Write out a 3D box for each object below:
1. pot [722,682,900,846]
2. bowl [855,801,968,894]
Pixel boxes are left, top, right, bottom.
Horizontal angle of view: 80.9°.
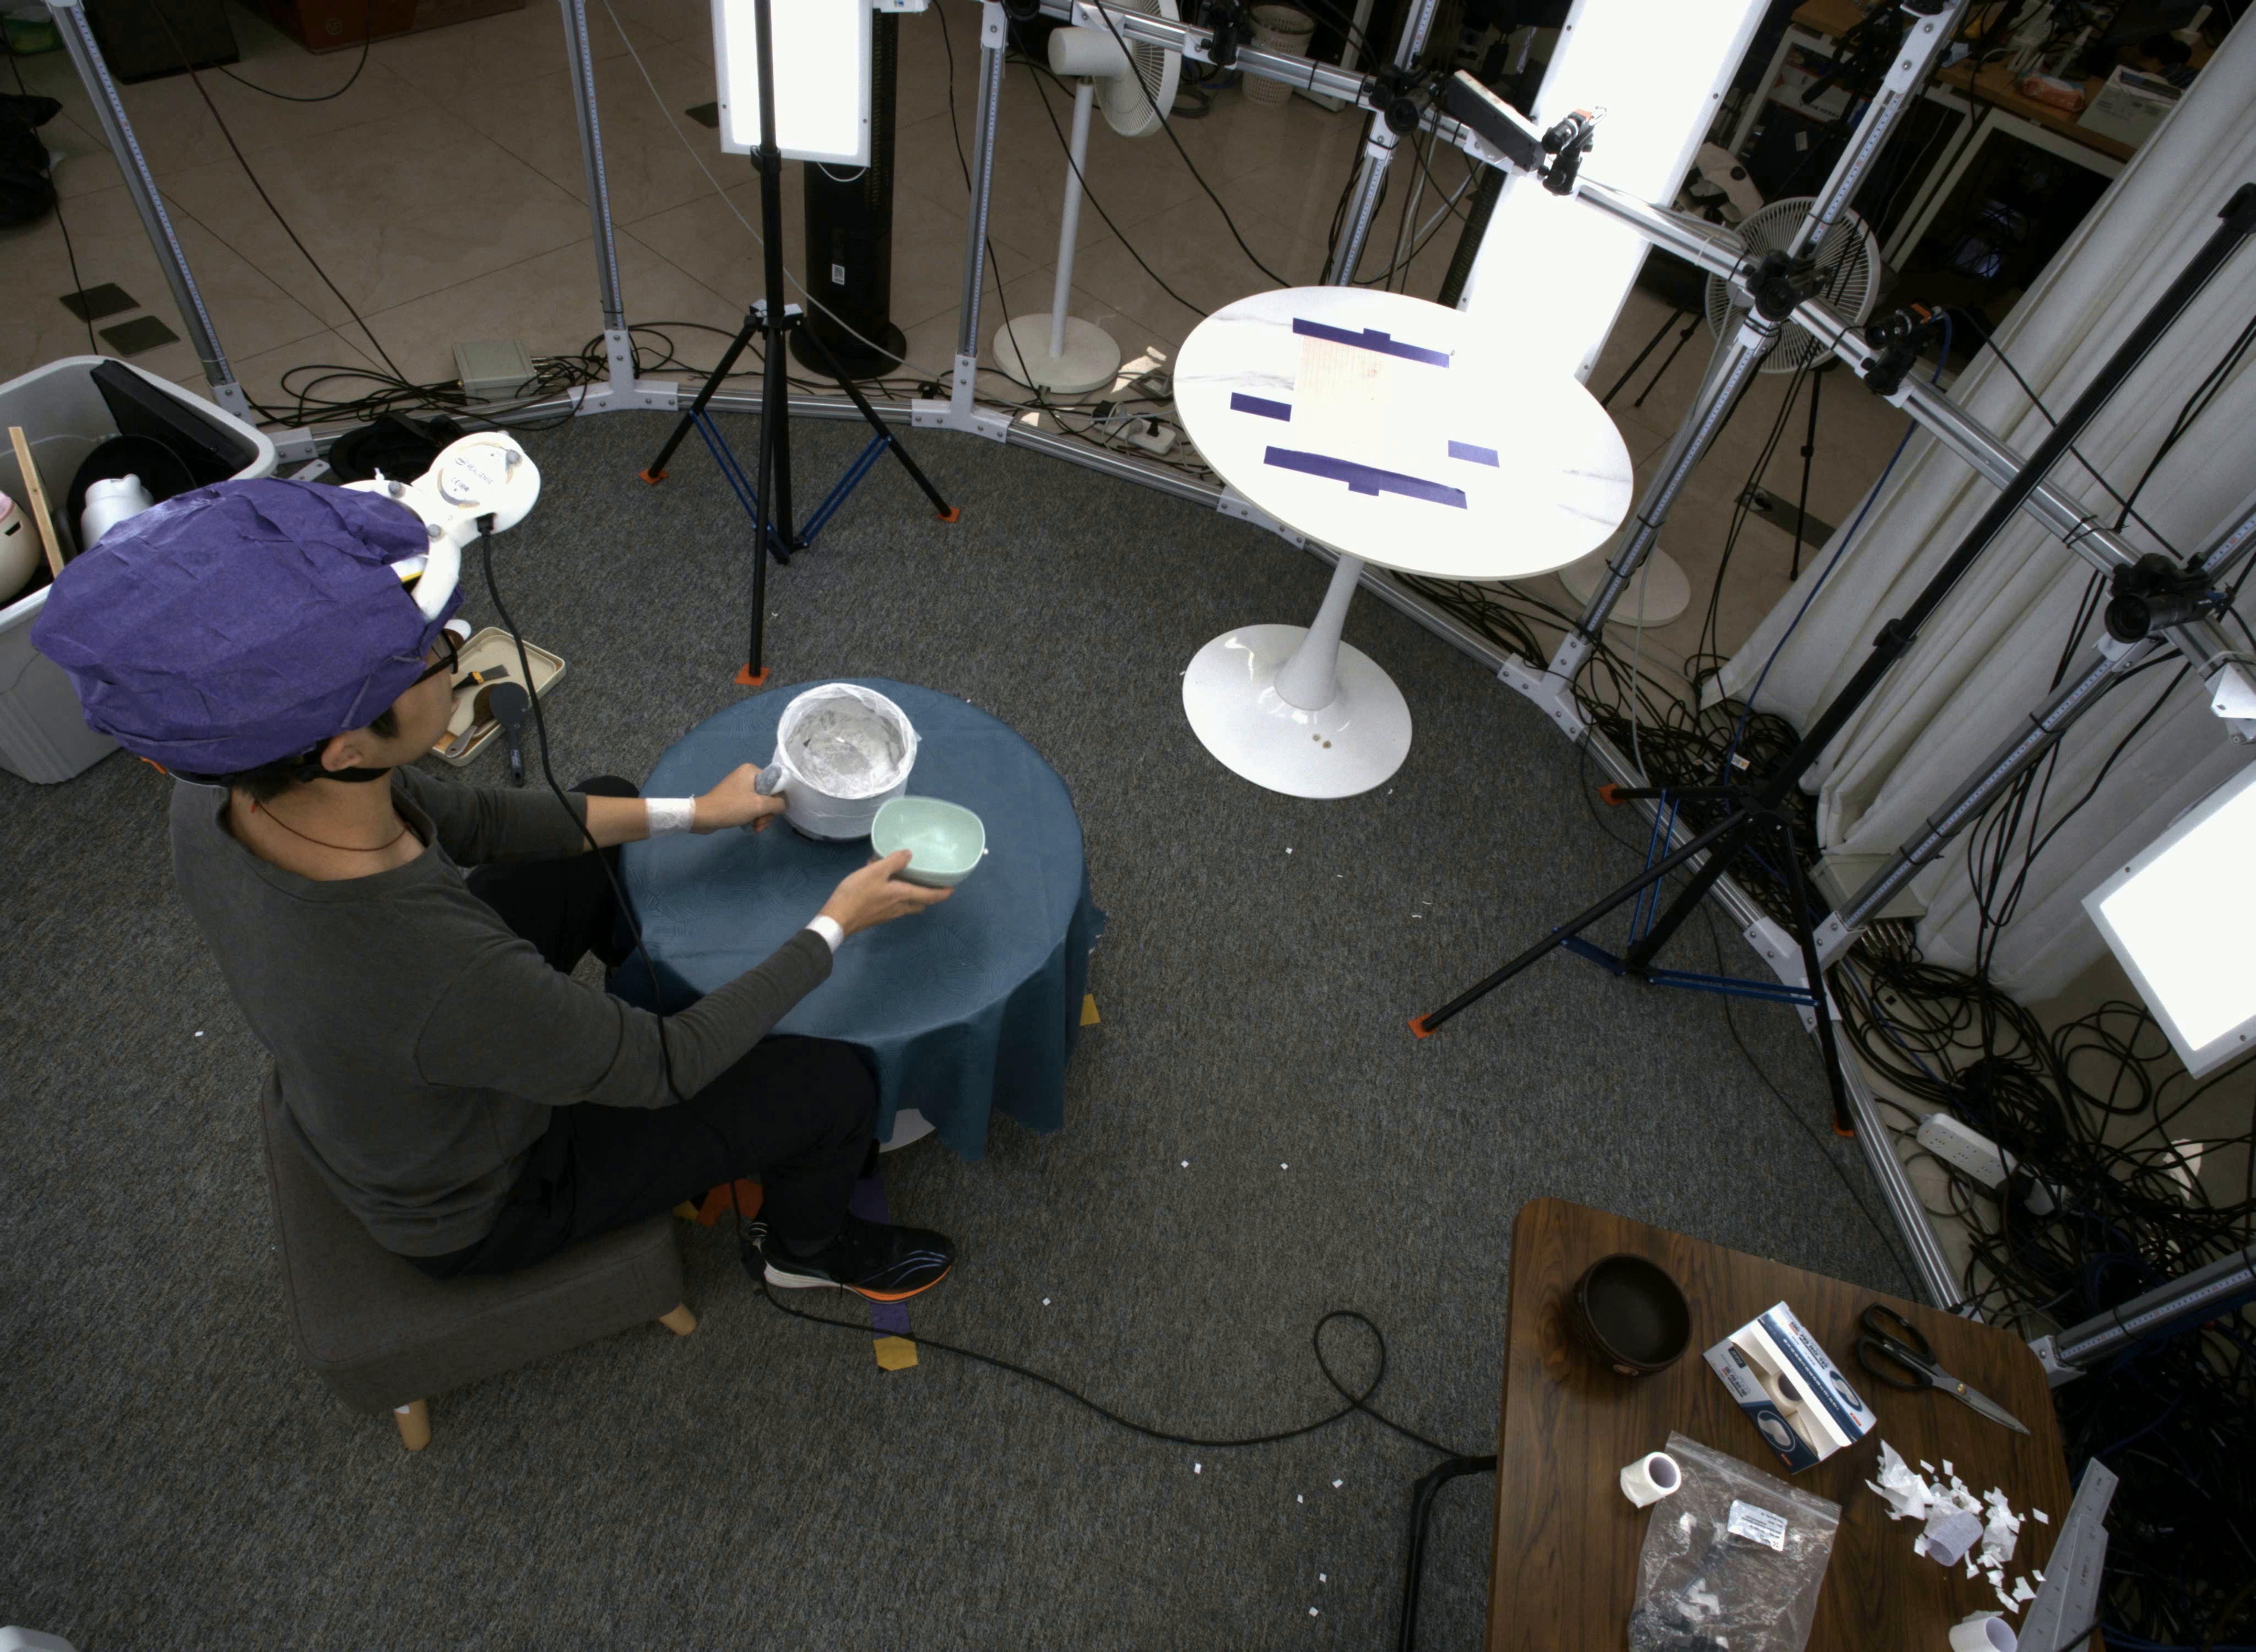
[{"bbox_3d":[-0.416,-0.066,1.684,0.235,0.138,0.176,-30,73,-33],"label":"pot"},{"bbox_3d":[-0.271,0.032,1.609,0.151,0.060,0.148,15,31,-8],"label":"bowl"}]
